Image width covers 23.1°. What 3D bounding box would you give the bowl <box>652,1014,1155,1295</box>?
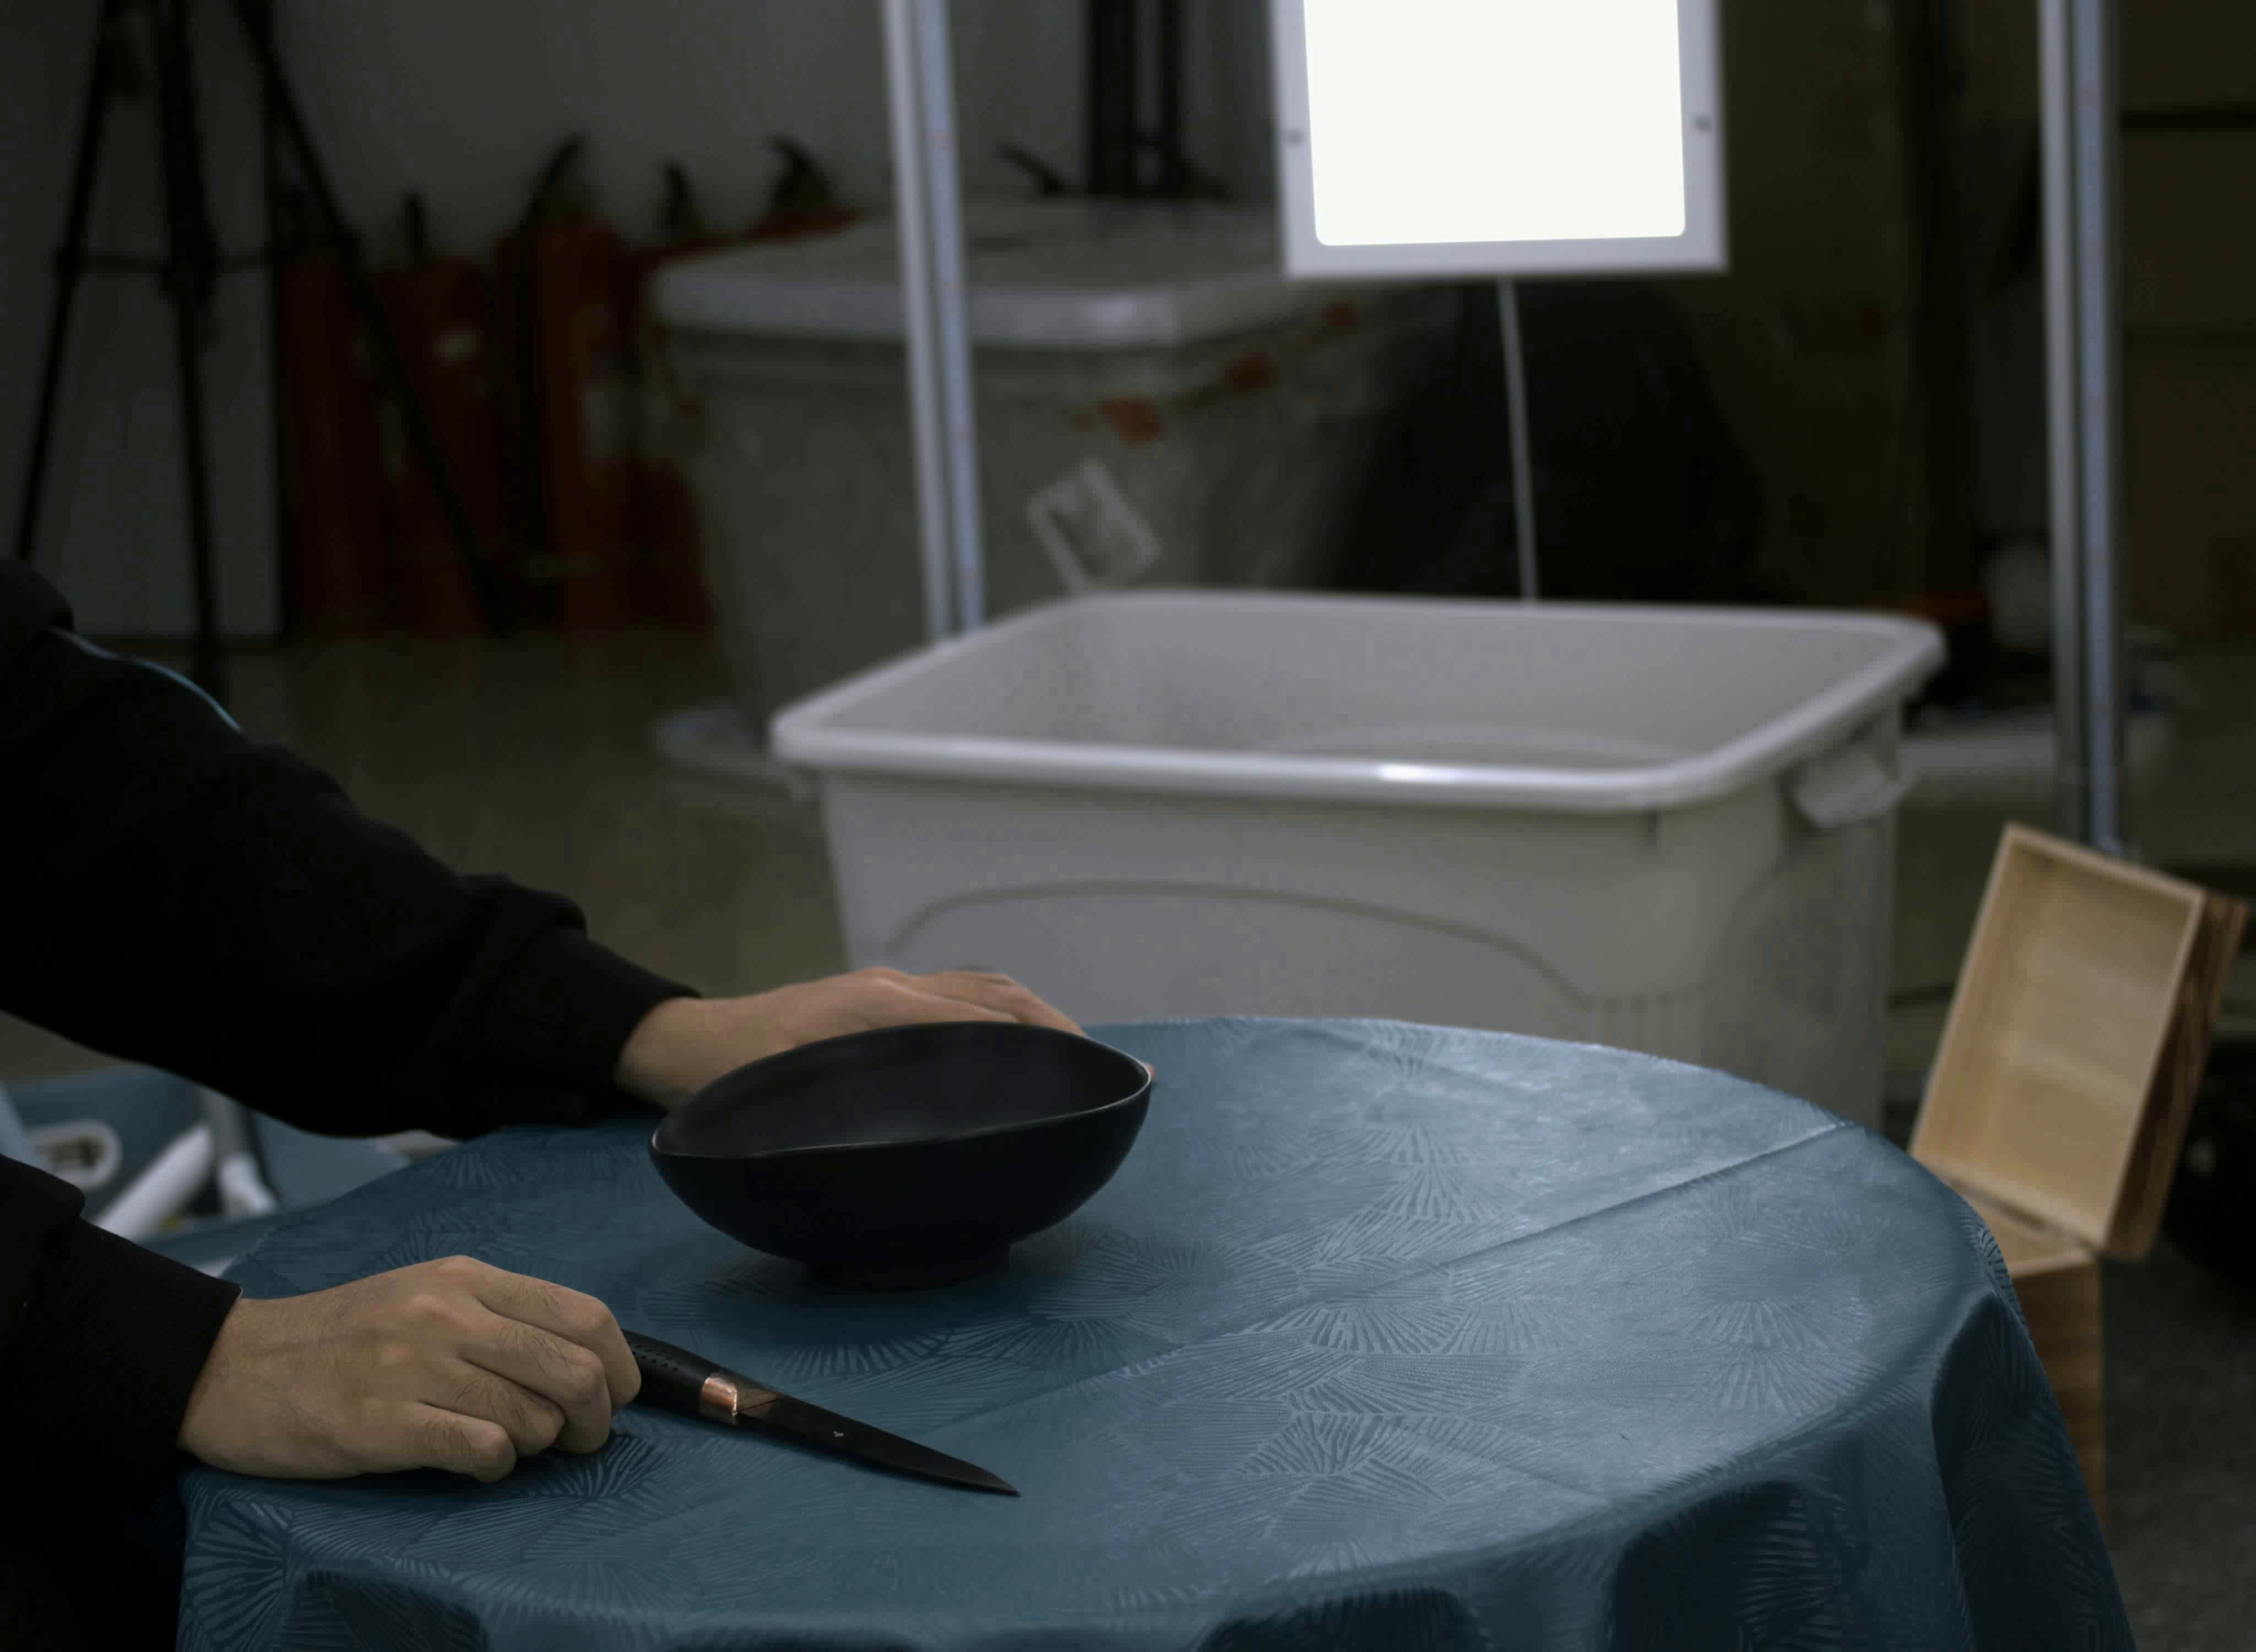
[{"bbox_3d":[-0.072,0.115,1.836,0.170,0.067,0.137,-7,14,0],"label":"bowl"}]

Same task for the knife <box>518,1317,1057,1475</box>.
[{"bbox_3d":[-0.108,0.178,1.702,0.230,0.017,0.025,9,24,43],"label":"knife"}]
